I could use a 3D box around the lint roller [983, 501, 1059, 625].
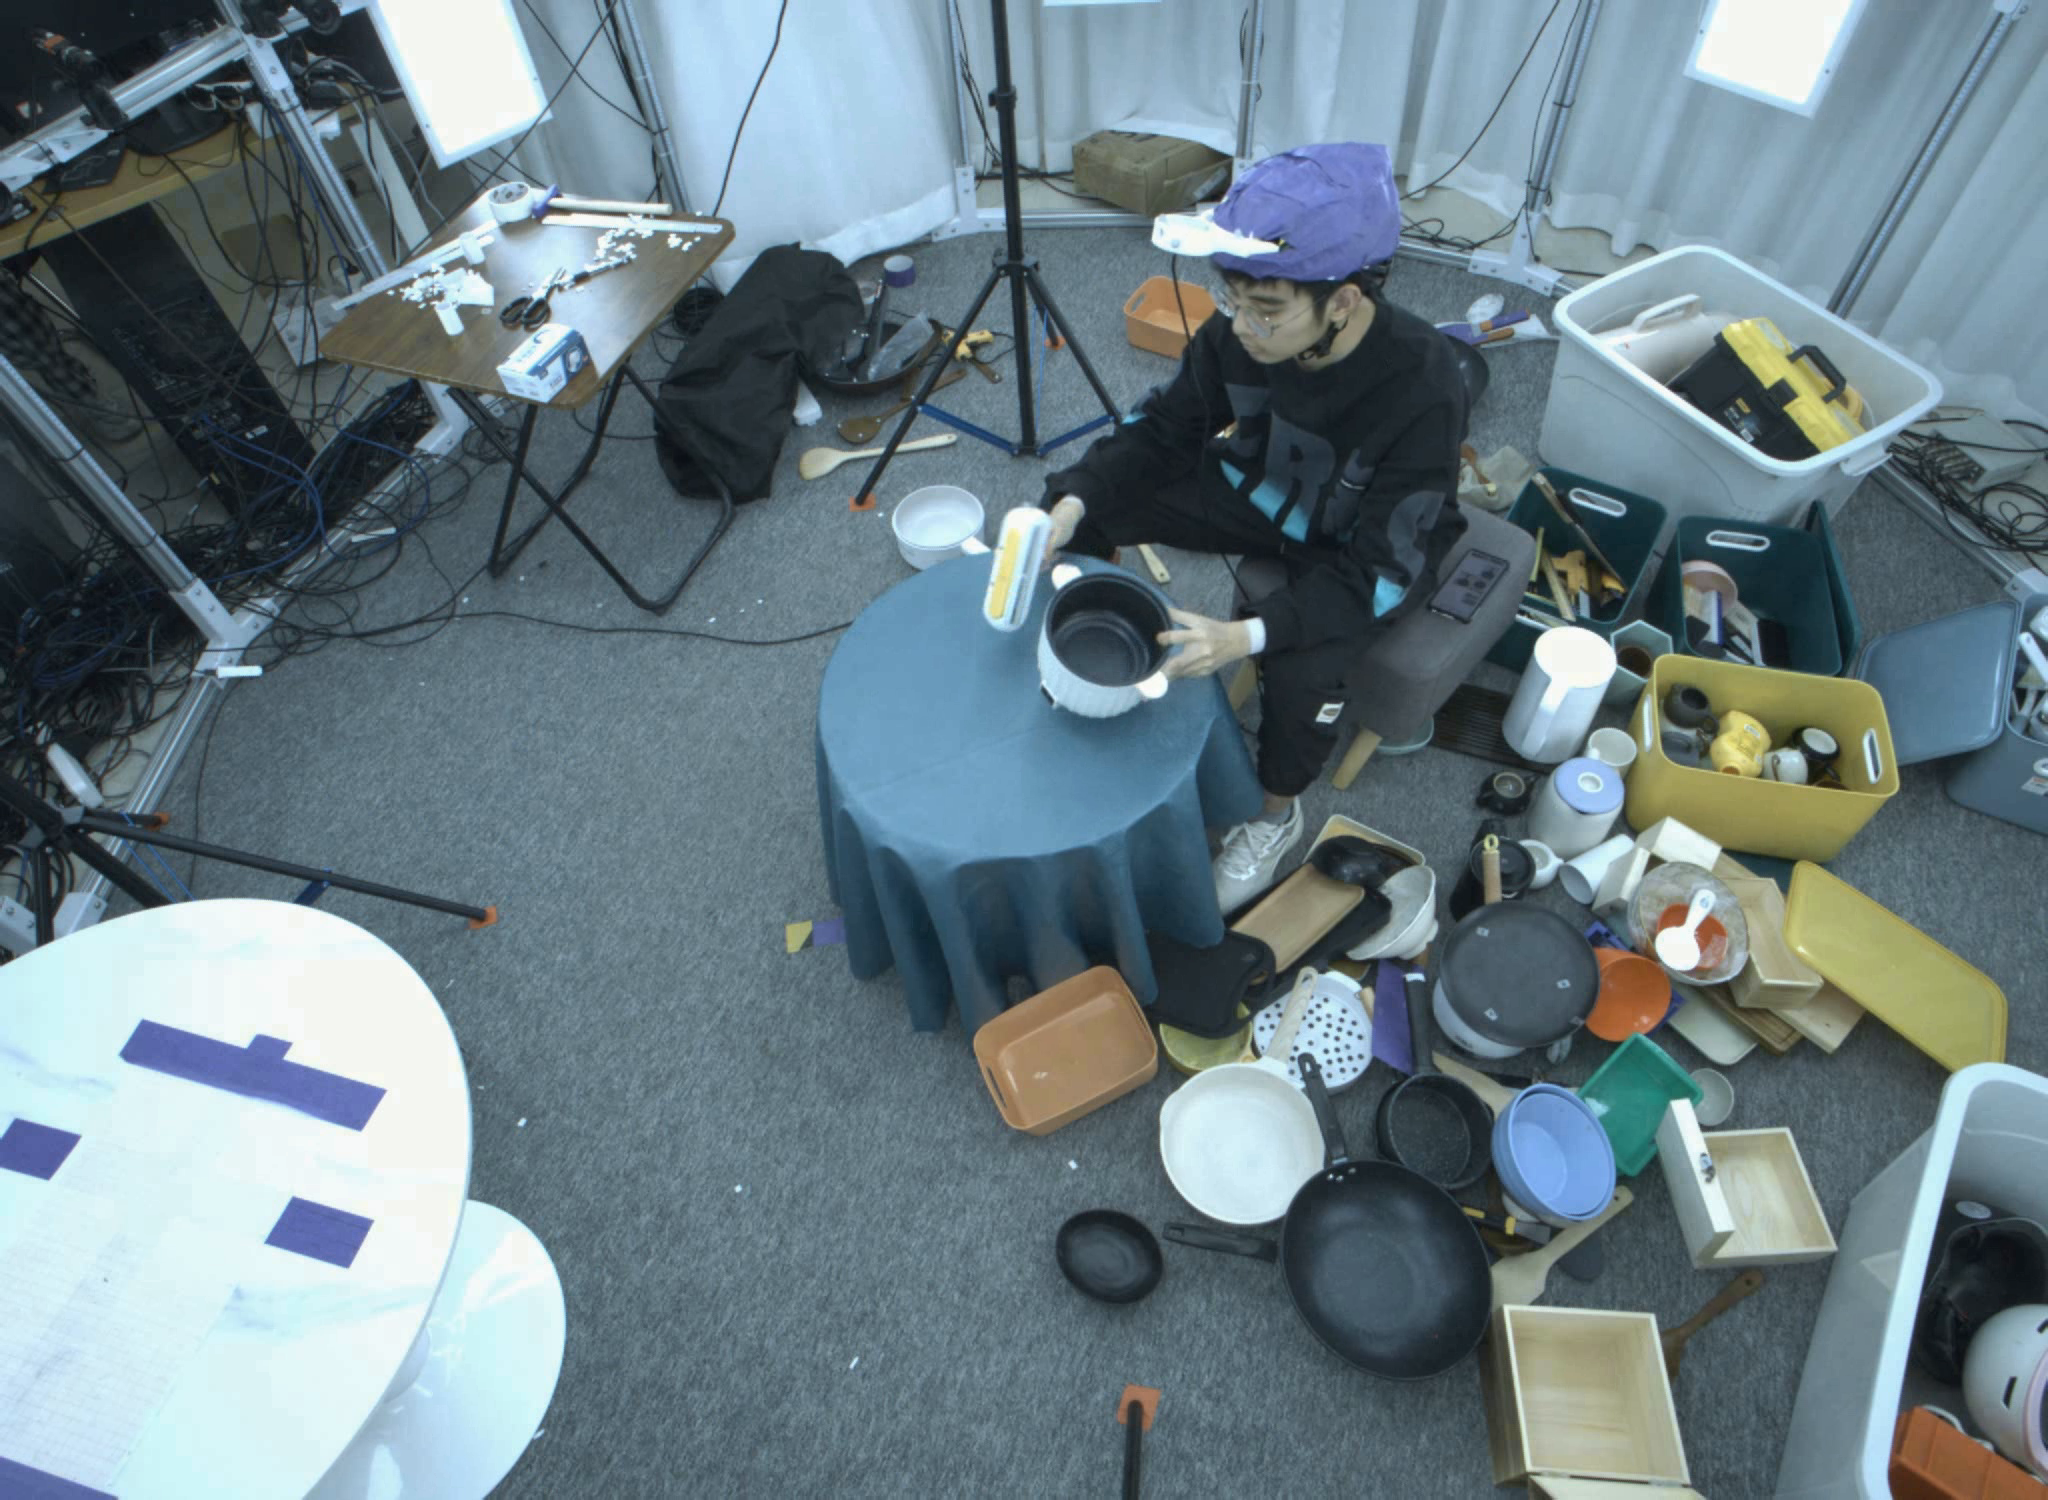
[{"bbox_3d":[0.013,-0.294,1.867,0.073,0.193,0.194,25,24,17],"label":"lint roller"}]

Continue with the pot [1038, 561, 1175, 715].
[{"bbox_3d":[0.114,-0.148,1.748,0.192,0.142,0.238,-32,79,-17],"label":"pot"}]
